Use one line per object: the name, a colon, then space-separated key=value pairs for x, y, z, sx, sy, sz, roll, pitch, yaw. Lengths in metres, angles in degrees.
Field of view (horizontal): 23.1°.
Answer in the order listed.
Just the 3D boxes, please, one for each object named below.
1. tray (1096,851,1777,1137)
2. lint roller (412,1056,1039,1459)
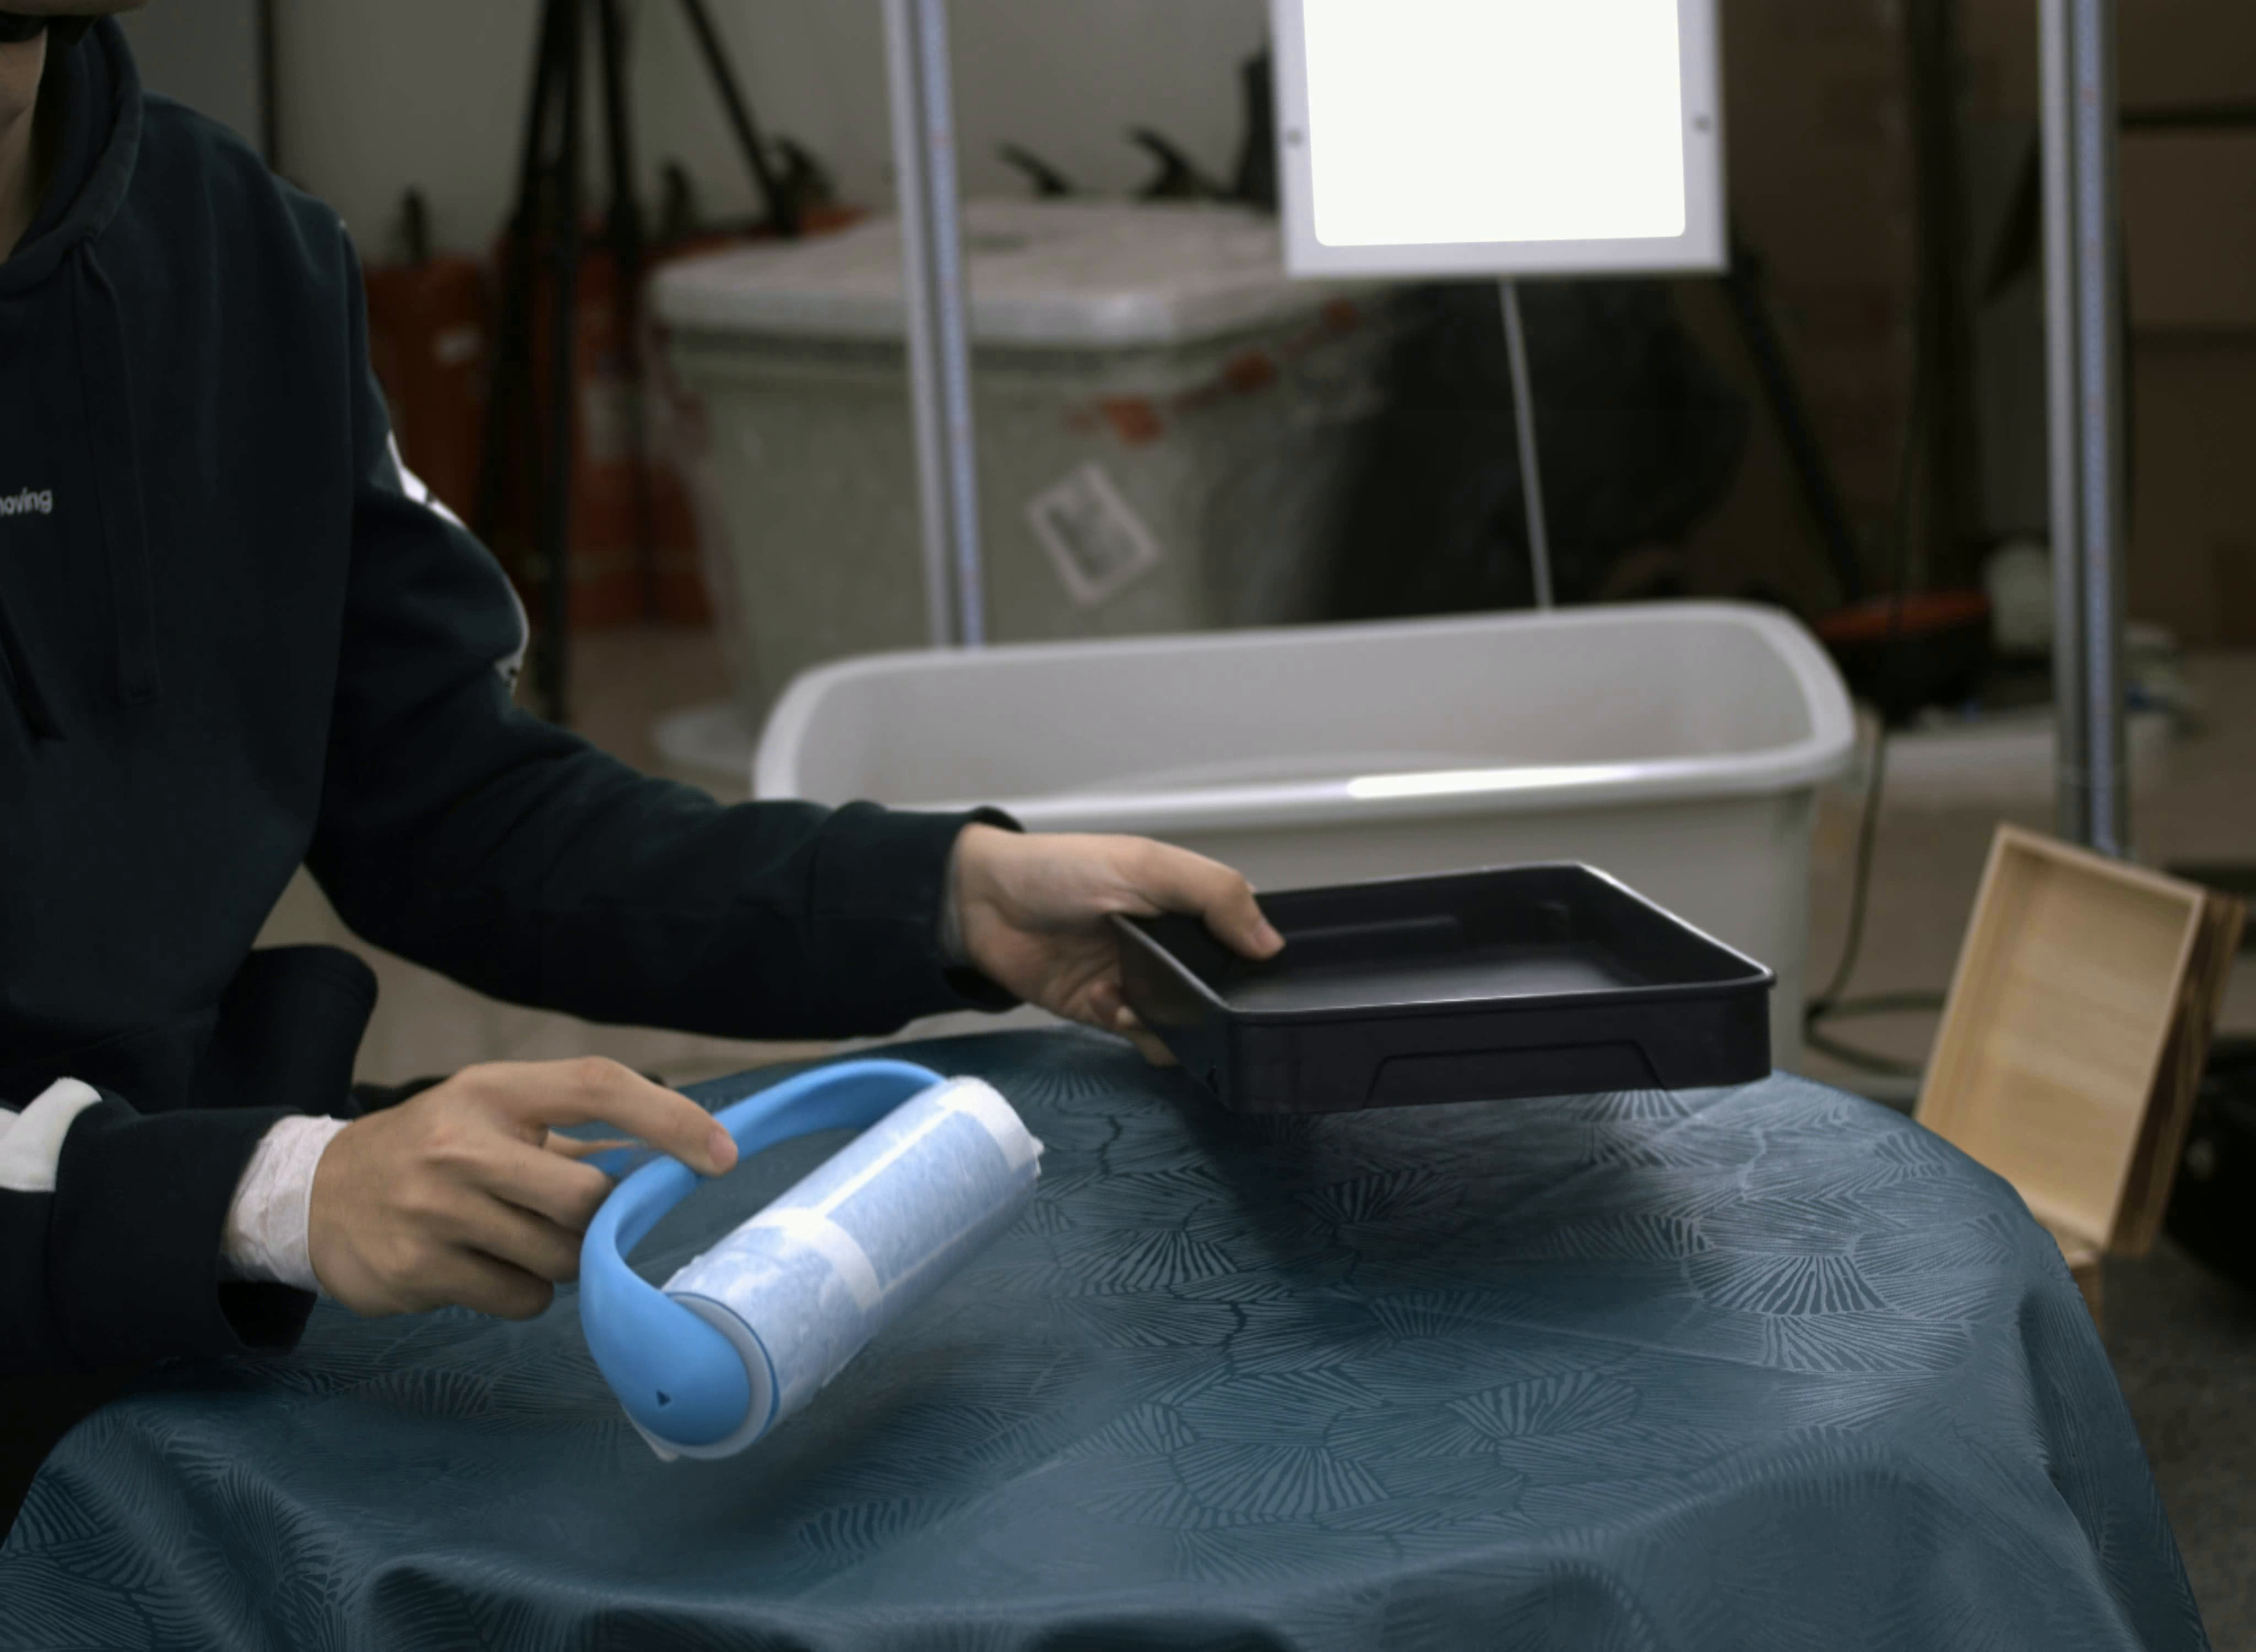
tray: x=0.100 y=0.054 z=1.892 sx=0.183 sy=0.037 sz=0.319 roll=-6 pitch=8 yaw=-7
lint roller: x=-0.144 y=0.129 z=1.700 sx=0.183 sy=0.068 sz=0.225 roll=1 pitch=18 yaw=21
